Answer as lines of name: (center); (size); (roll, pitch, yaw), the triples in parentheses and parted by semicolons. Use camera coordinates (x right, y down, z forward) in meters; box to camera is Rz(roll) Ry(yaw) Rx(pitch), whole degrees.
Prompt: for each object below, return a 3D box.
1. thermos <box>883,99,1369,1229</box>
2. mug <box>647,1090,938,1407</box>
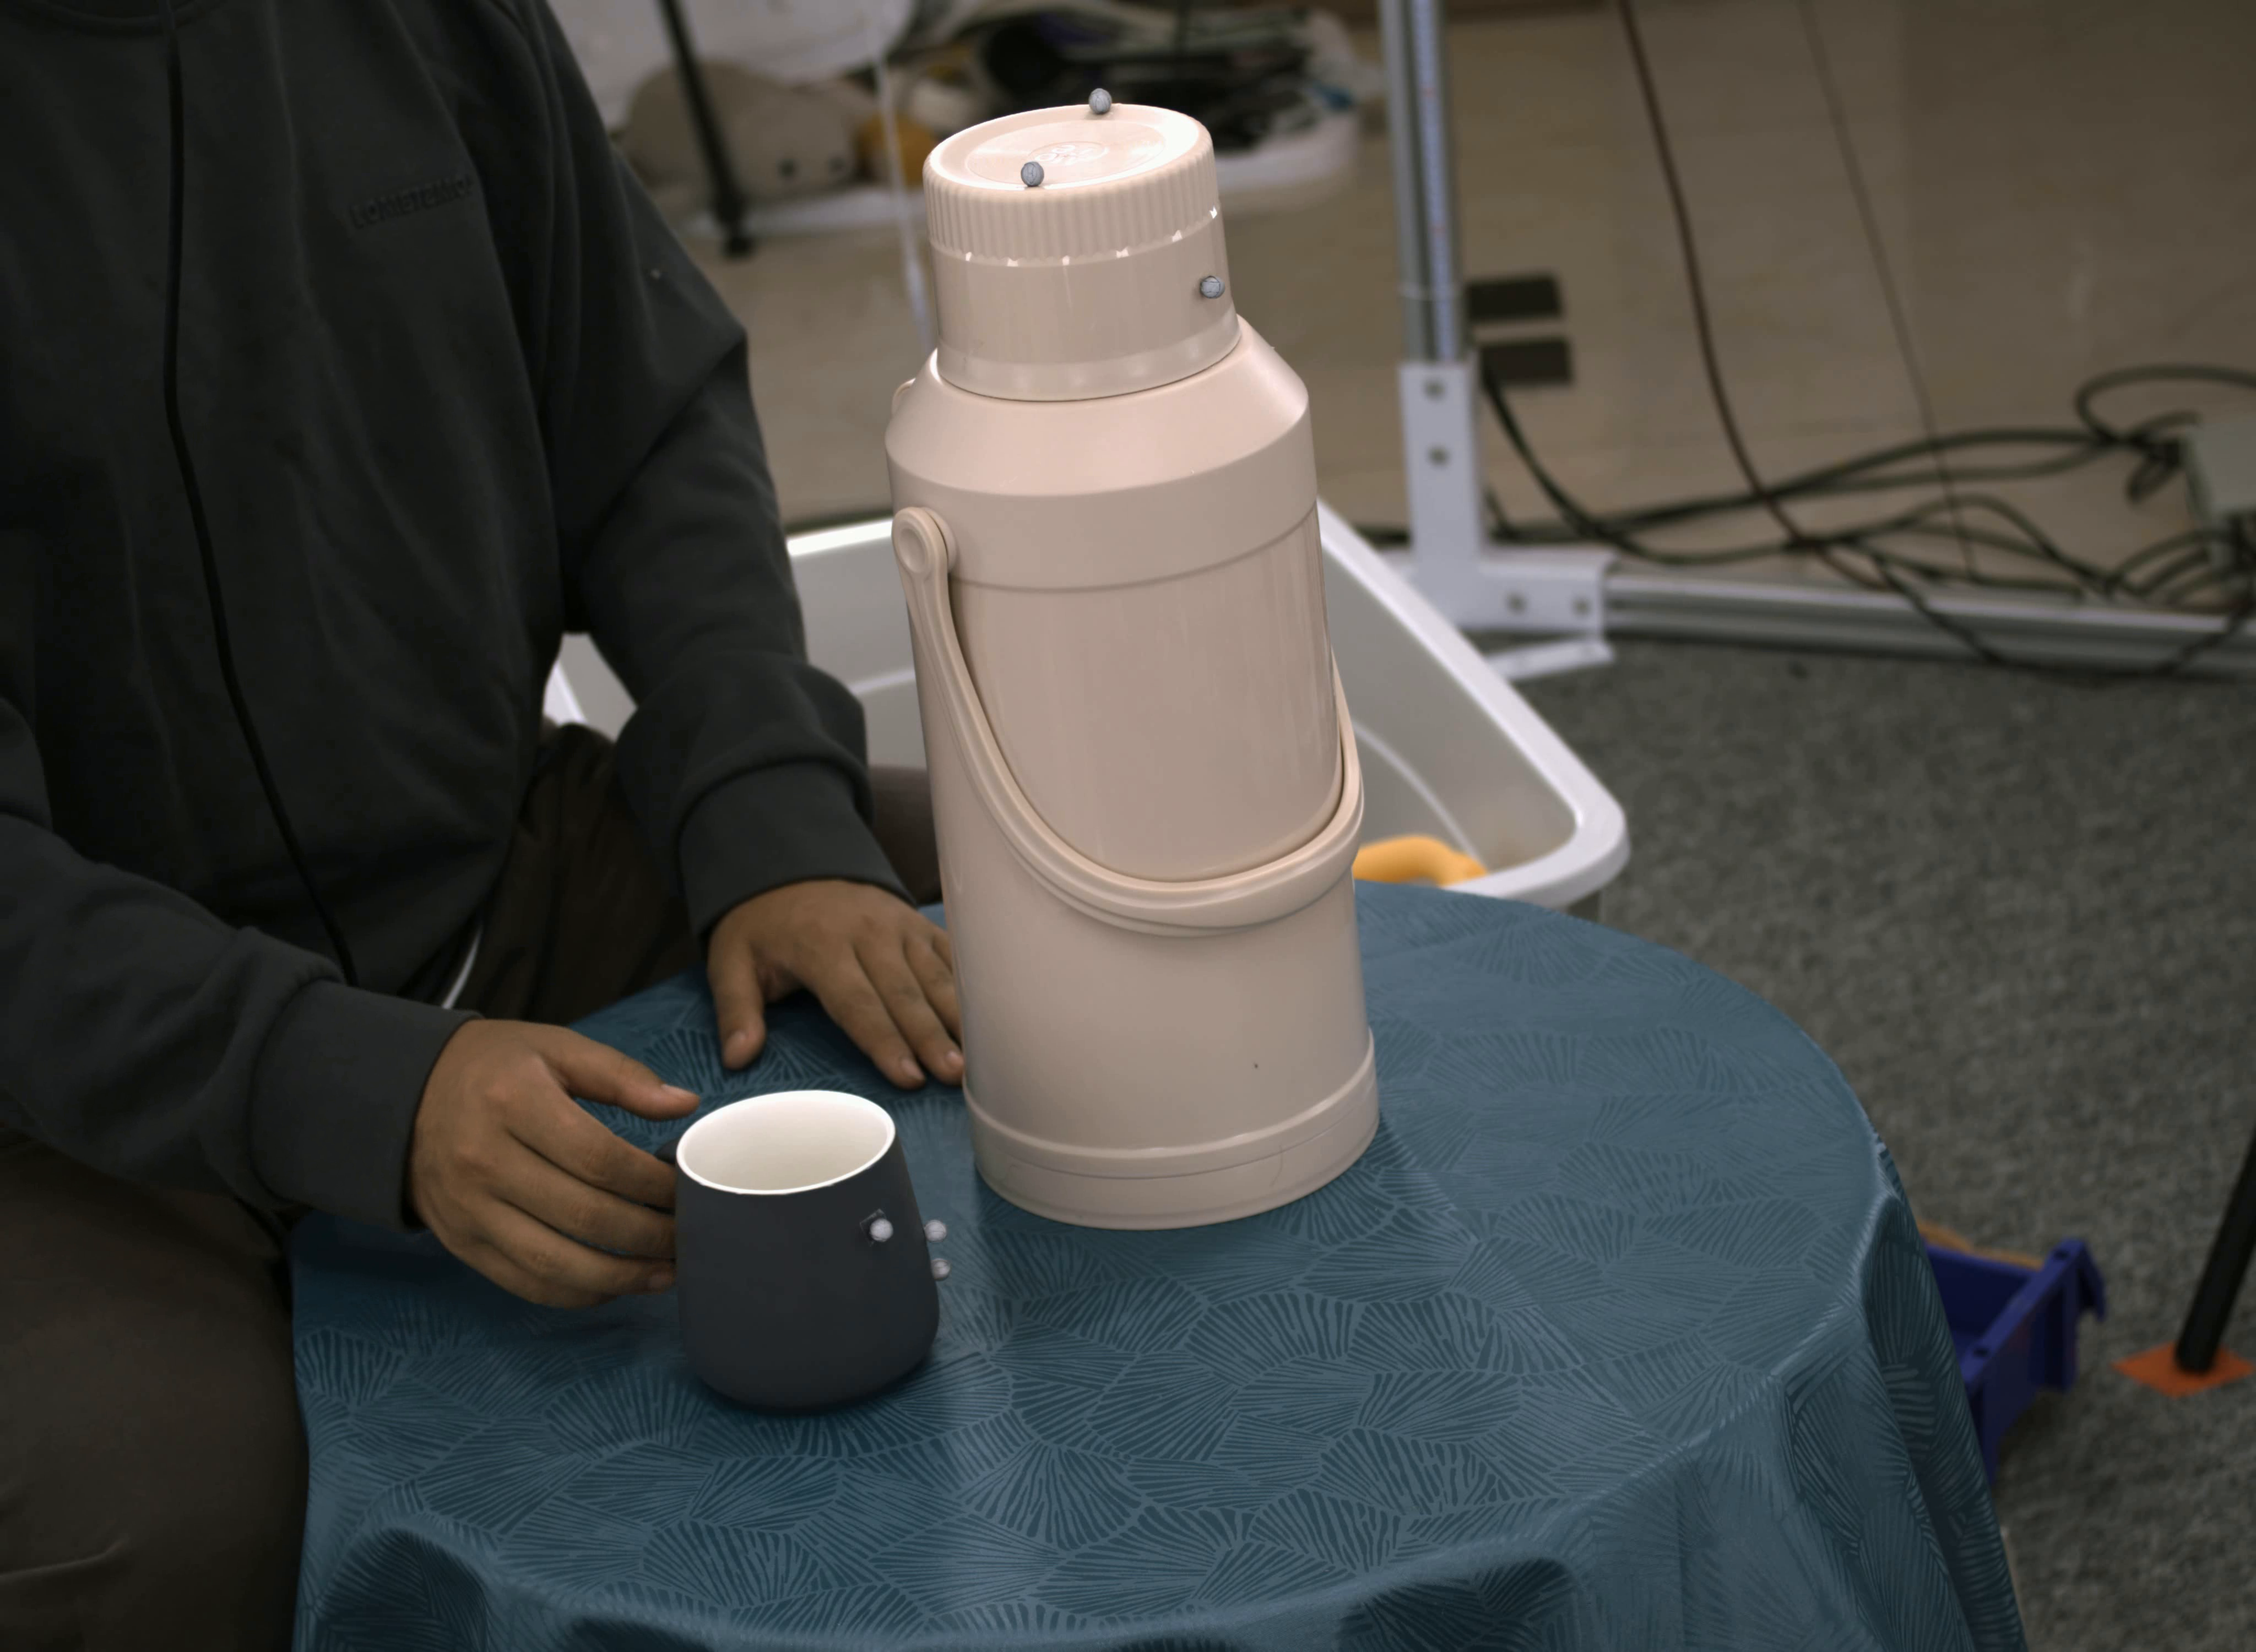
thermos: (-0.011, -0.065, 2.112); (0.174, 0.413, 0.205); (-24, 31, -32)
mug: (-0.128, 0.149, 2.047); (0.122, 0.091, 0.093); (18, 34, 41)
